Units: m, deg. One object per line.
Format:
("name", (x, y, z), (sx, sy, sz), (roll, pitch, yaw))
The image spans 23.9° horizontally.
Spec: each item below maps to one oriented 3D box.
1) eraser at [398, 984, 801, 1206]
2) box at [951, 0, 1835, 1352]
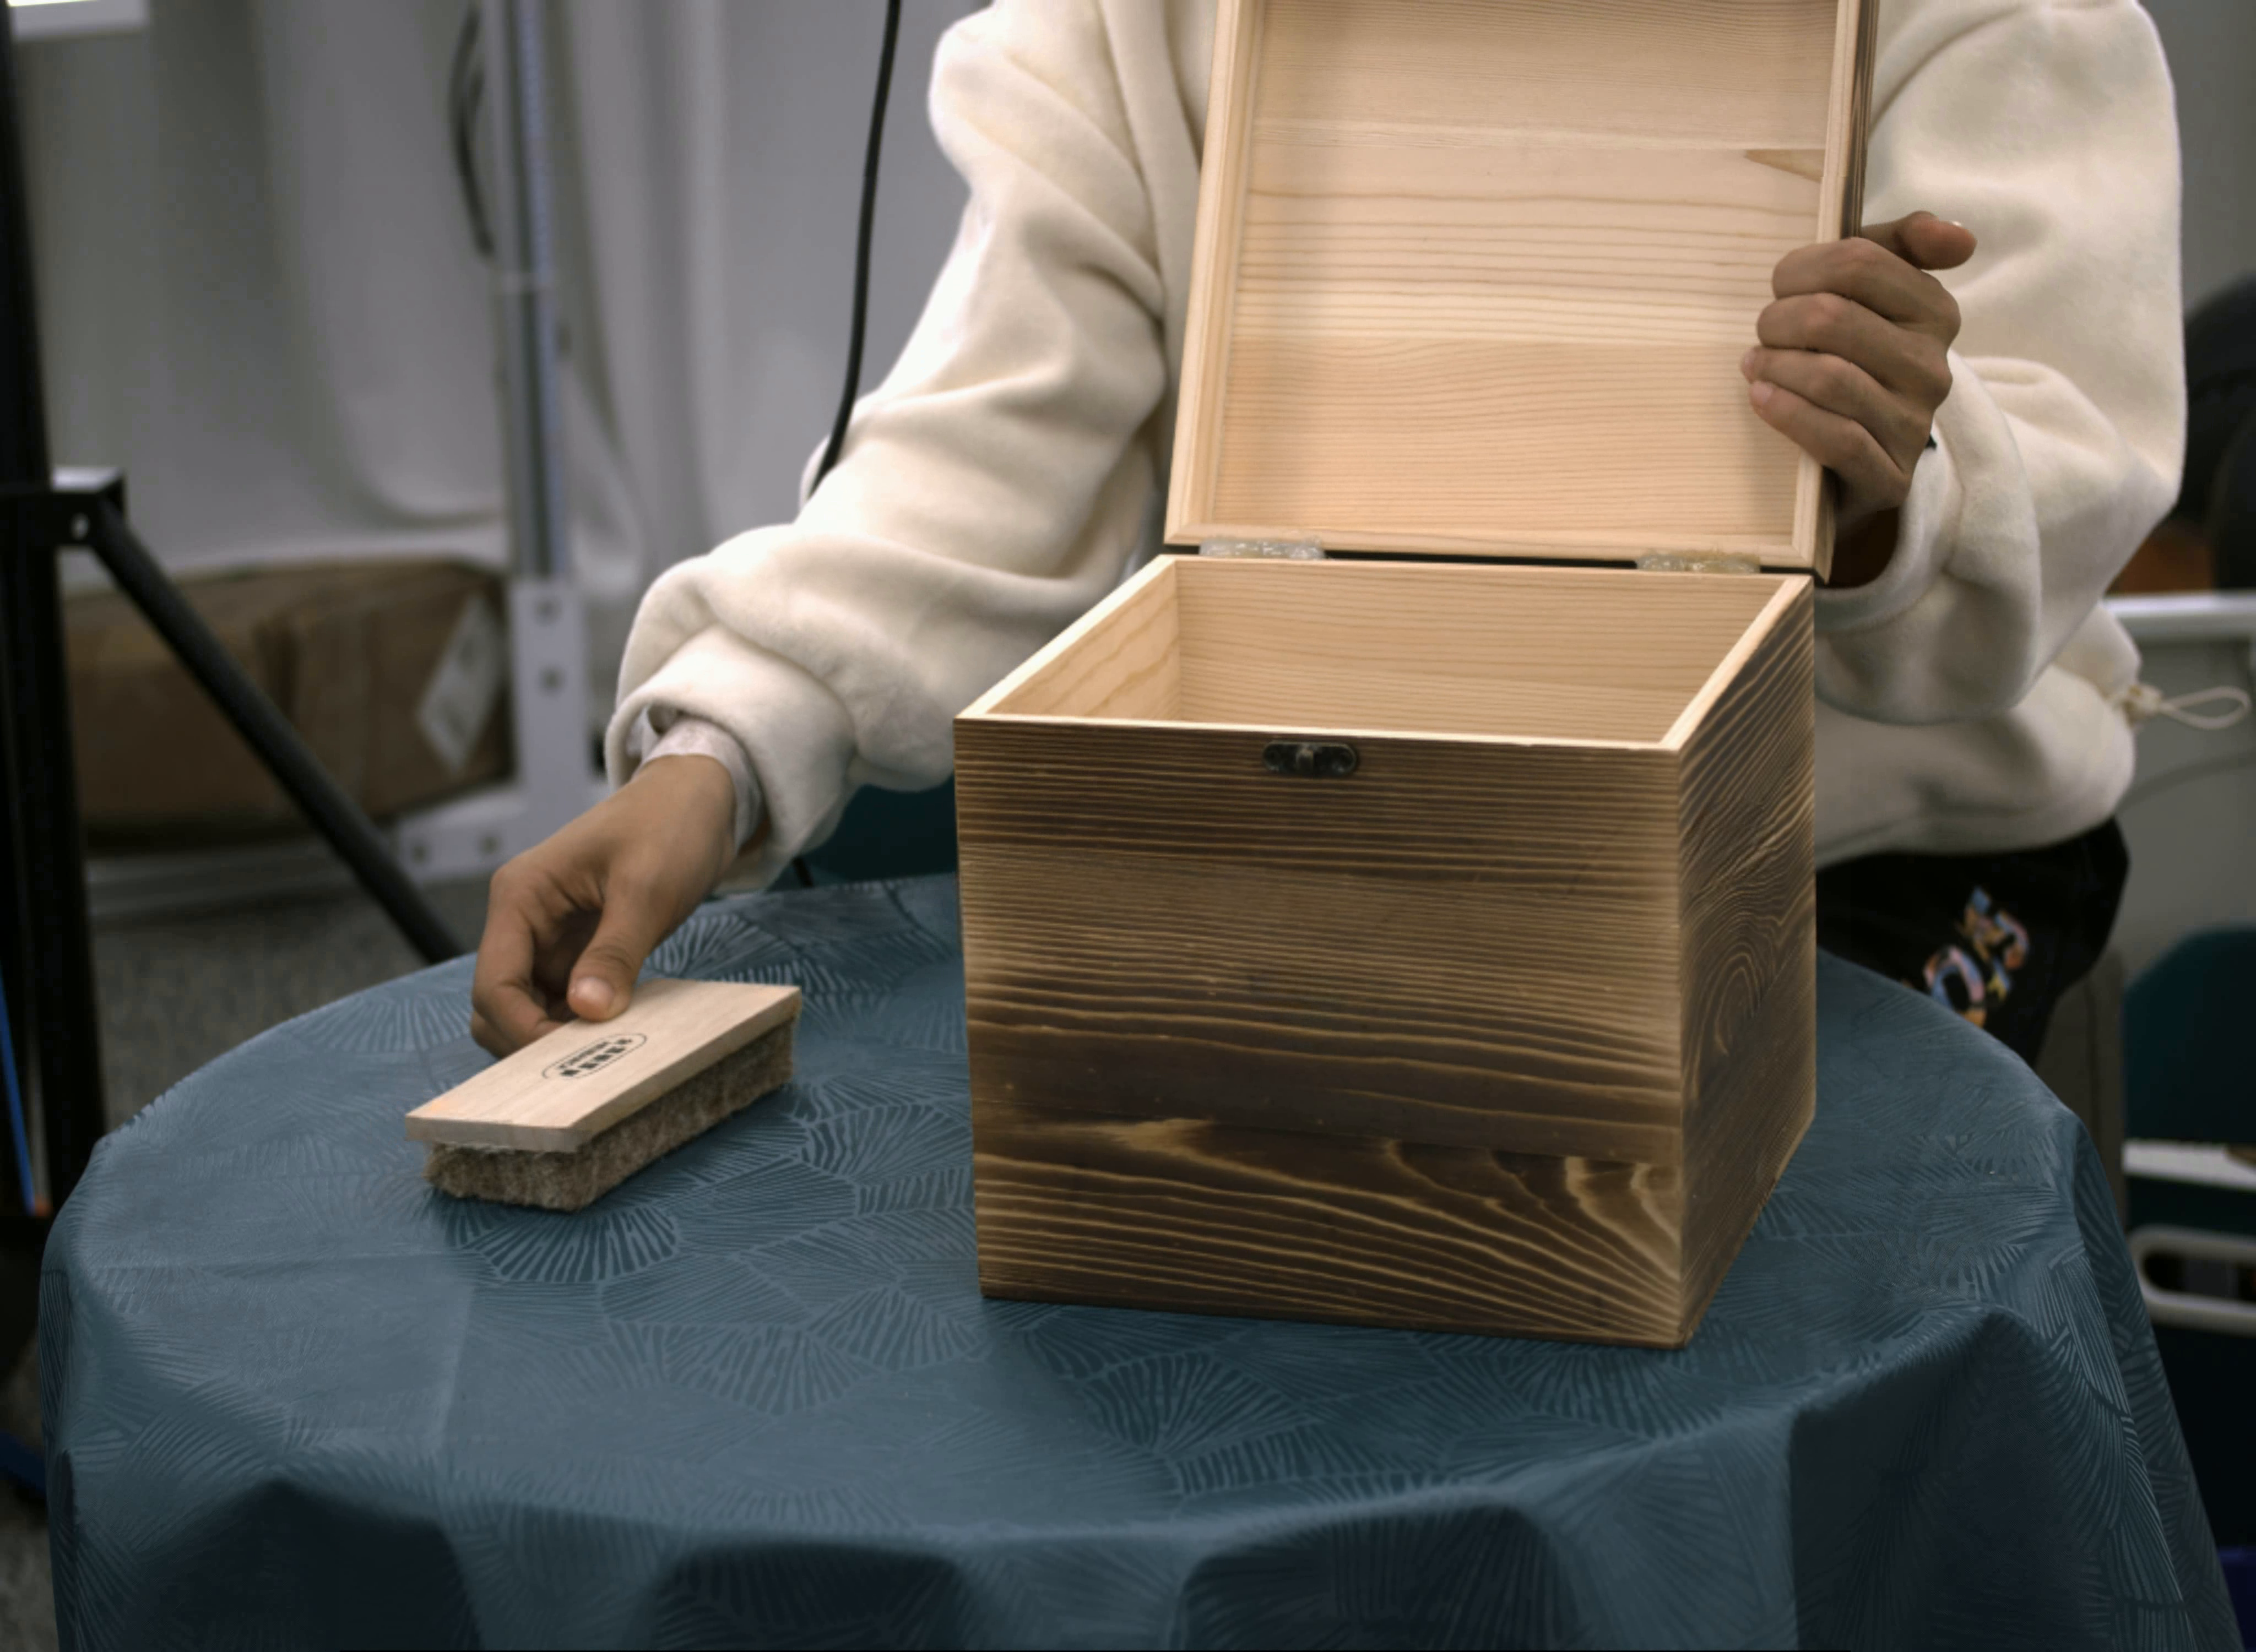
("eraser", (-0.158, 0.081, 1.625), (0.058, 0.029, 0.137), (3, 15, 30))
("box", (0.088, -0.078, 1.536), (0.211, 0.375, 0.319), (2, 16, 17))
